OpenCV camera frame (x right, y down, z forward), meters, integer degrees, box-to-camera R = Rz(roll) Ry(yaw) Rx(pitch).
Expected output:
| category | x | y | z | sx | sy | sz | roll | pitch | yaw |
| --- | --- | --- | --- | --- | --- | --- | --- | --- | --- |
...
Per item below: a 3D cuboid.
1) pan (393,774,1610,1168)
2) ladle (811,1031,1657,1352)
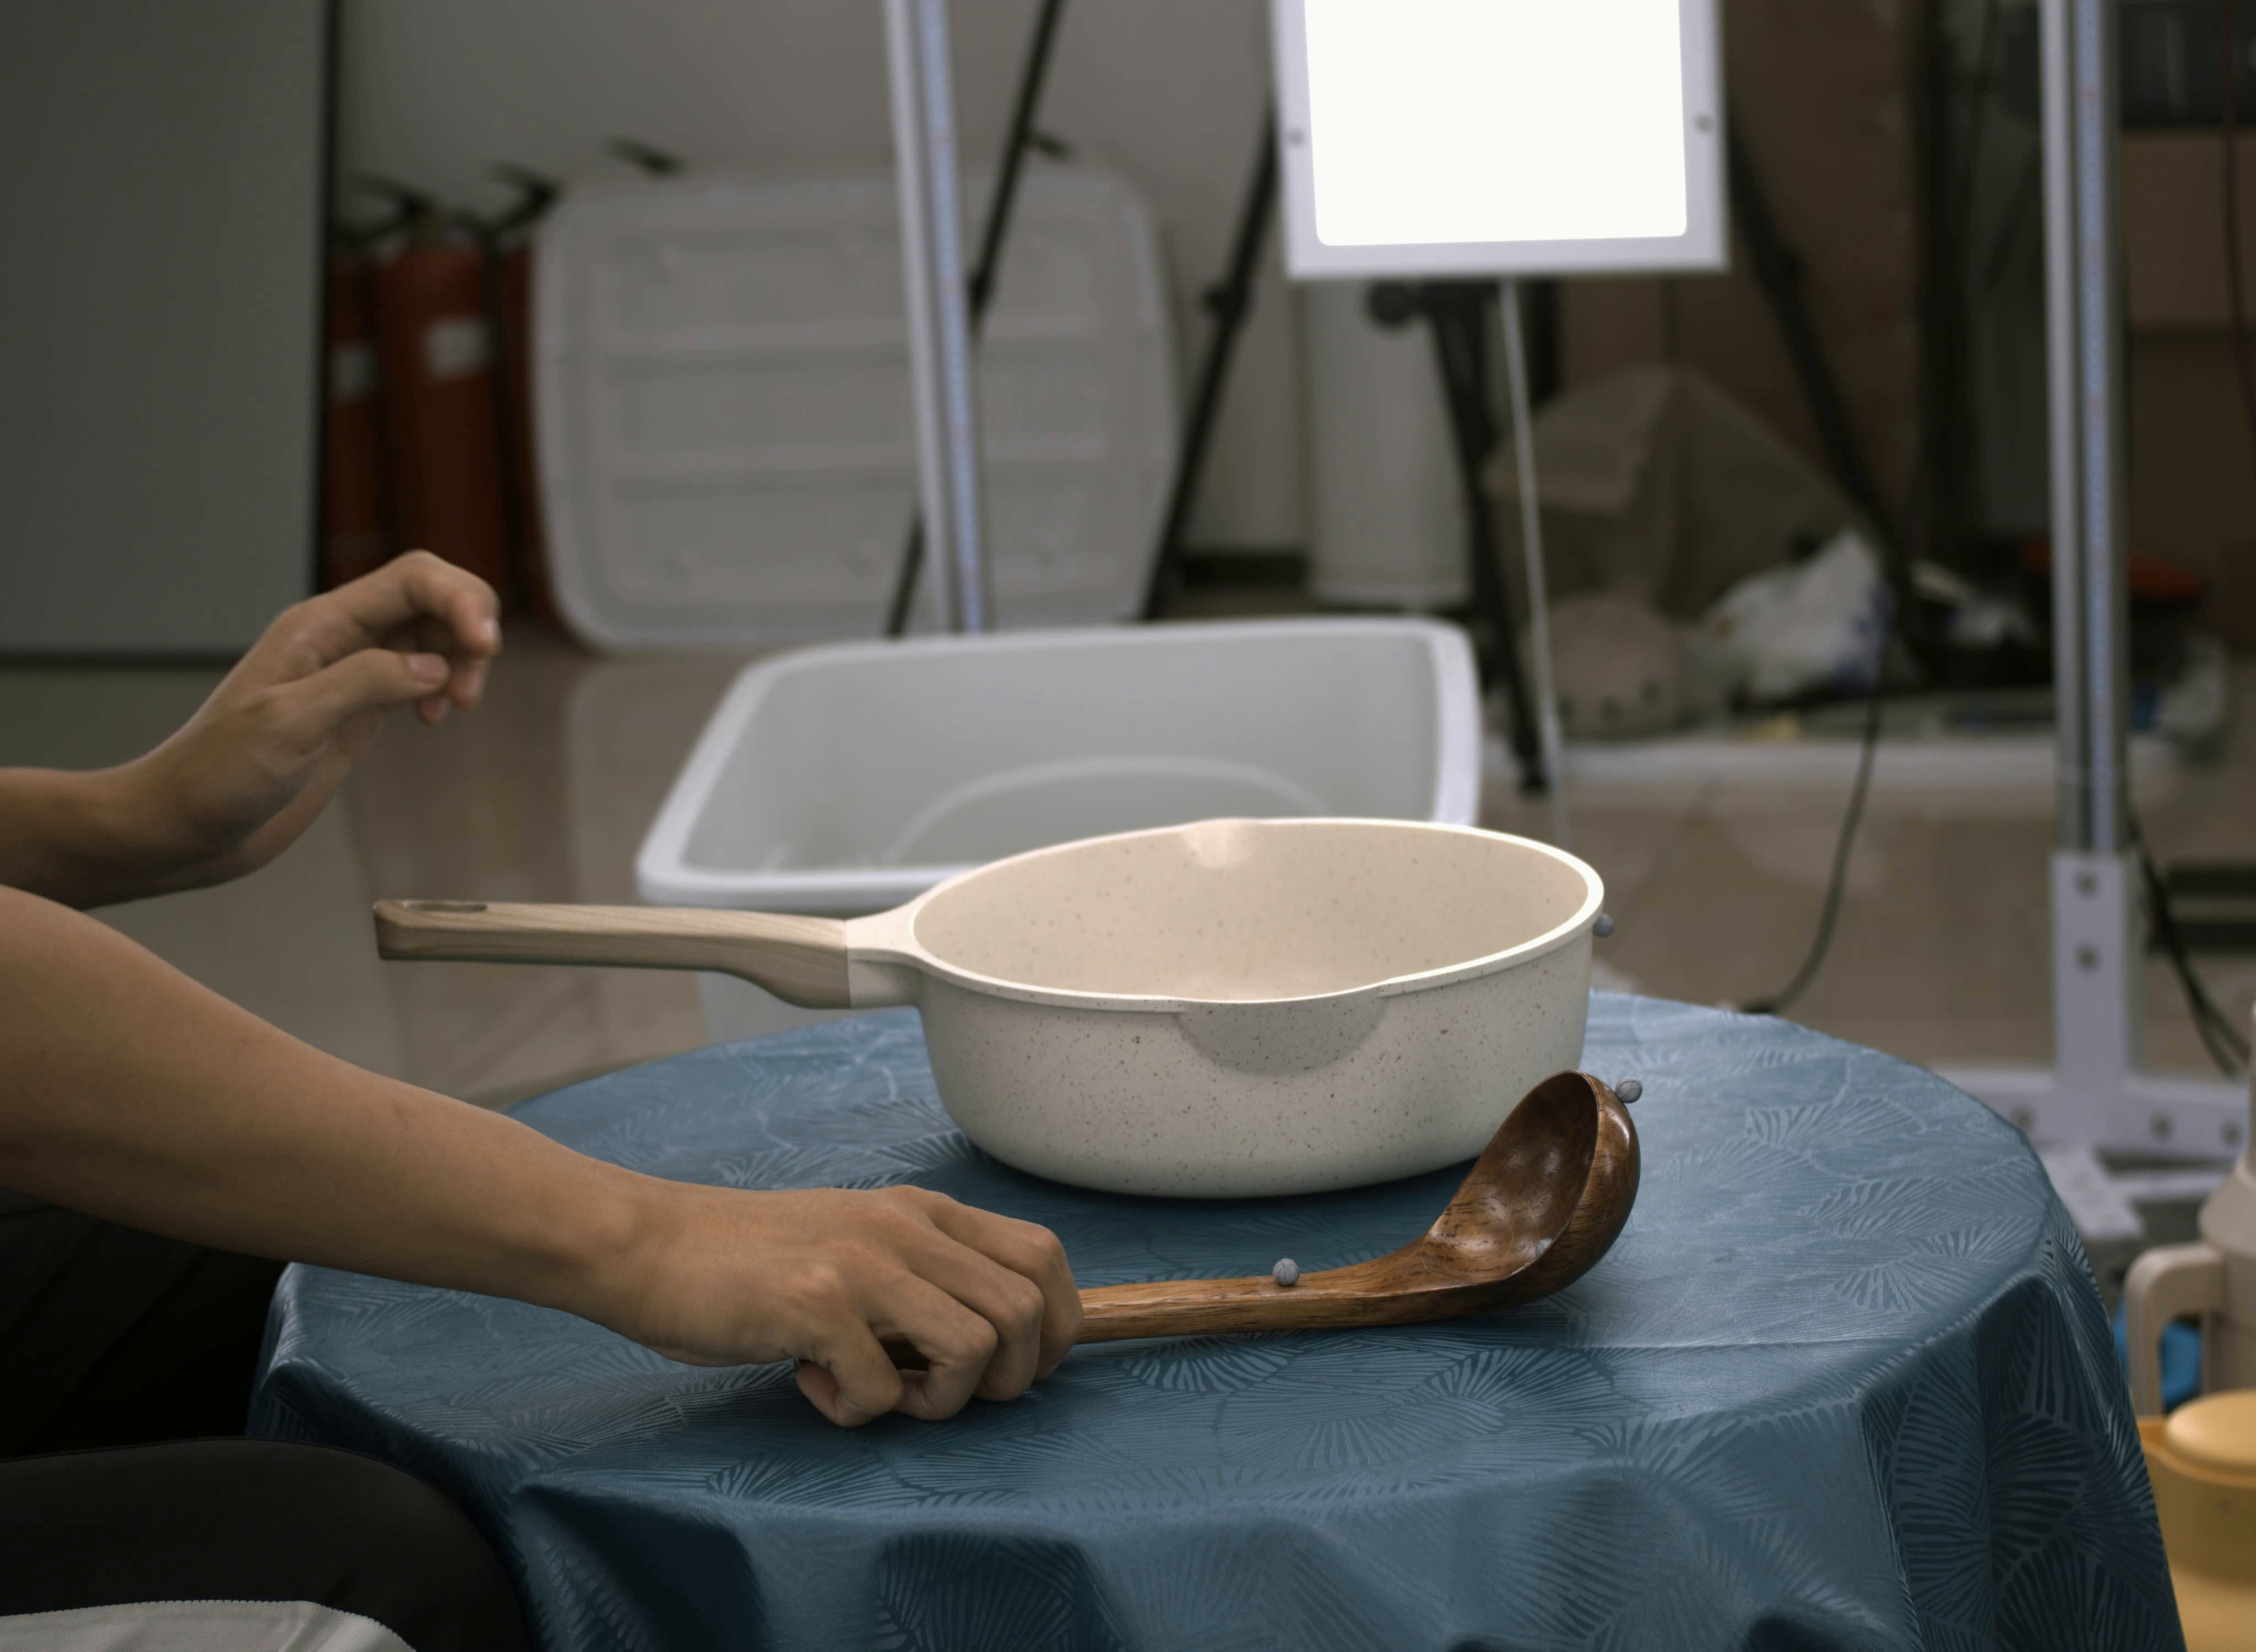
| category | x | y | z | sx | sy | sz | roll | pitch | yaw |
| --- | --- | --- | --- | --- | --- | --- | --- | --- | --- |
| pan | -0.041 | 0.055 | 1.975 | 0.433 | 0.102 | 0.263 | -6 | 15 | -1 |
| ladle | 0.034 | 0.115 | 1.739 | 0.272 | 0.077 | 0.082 | -6 | 16 | -5 |
